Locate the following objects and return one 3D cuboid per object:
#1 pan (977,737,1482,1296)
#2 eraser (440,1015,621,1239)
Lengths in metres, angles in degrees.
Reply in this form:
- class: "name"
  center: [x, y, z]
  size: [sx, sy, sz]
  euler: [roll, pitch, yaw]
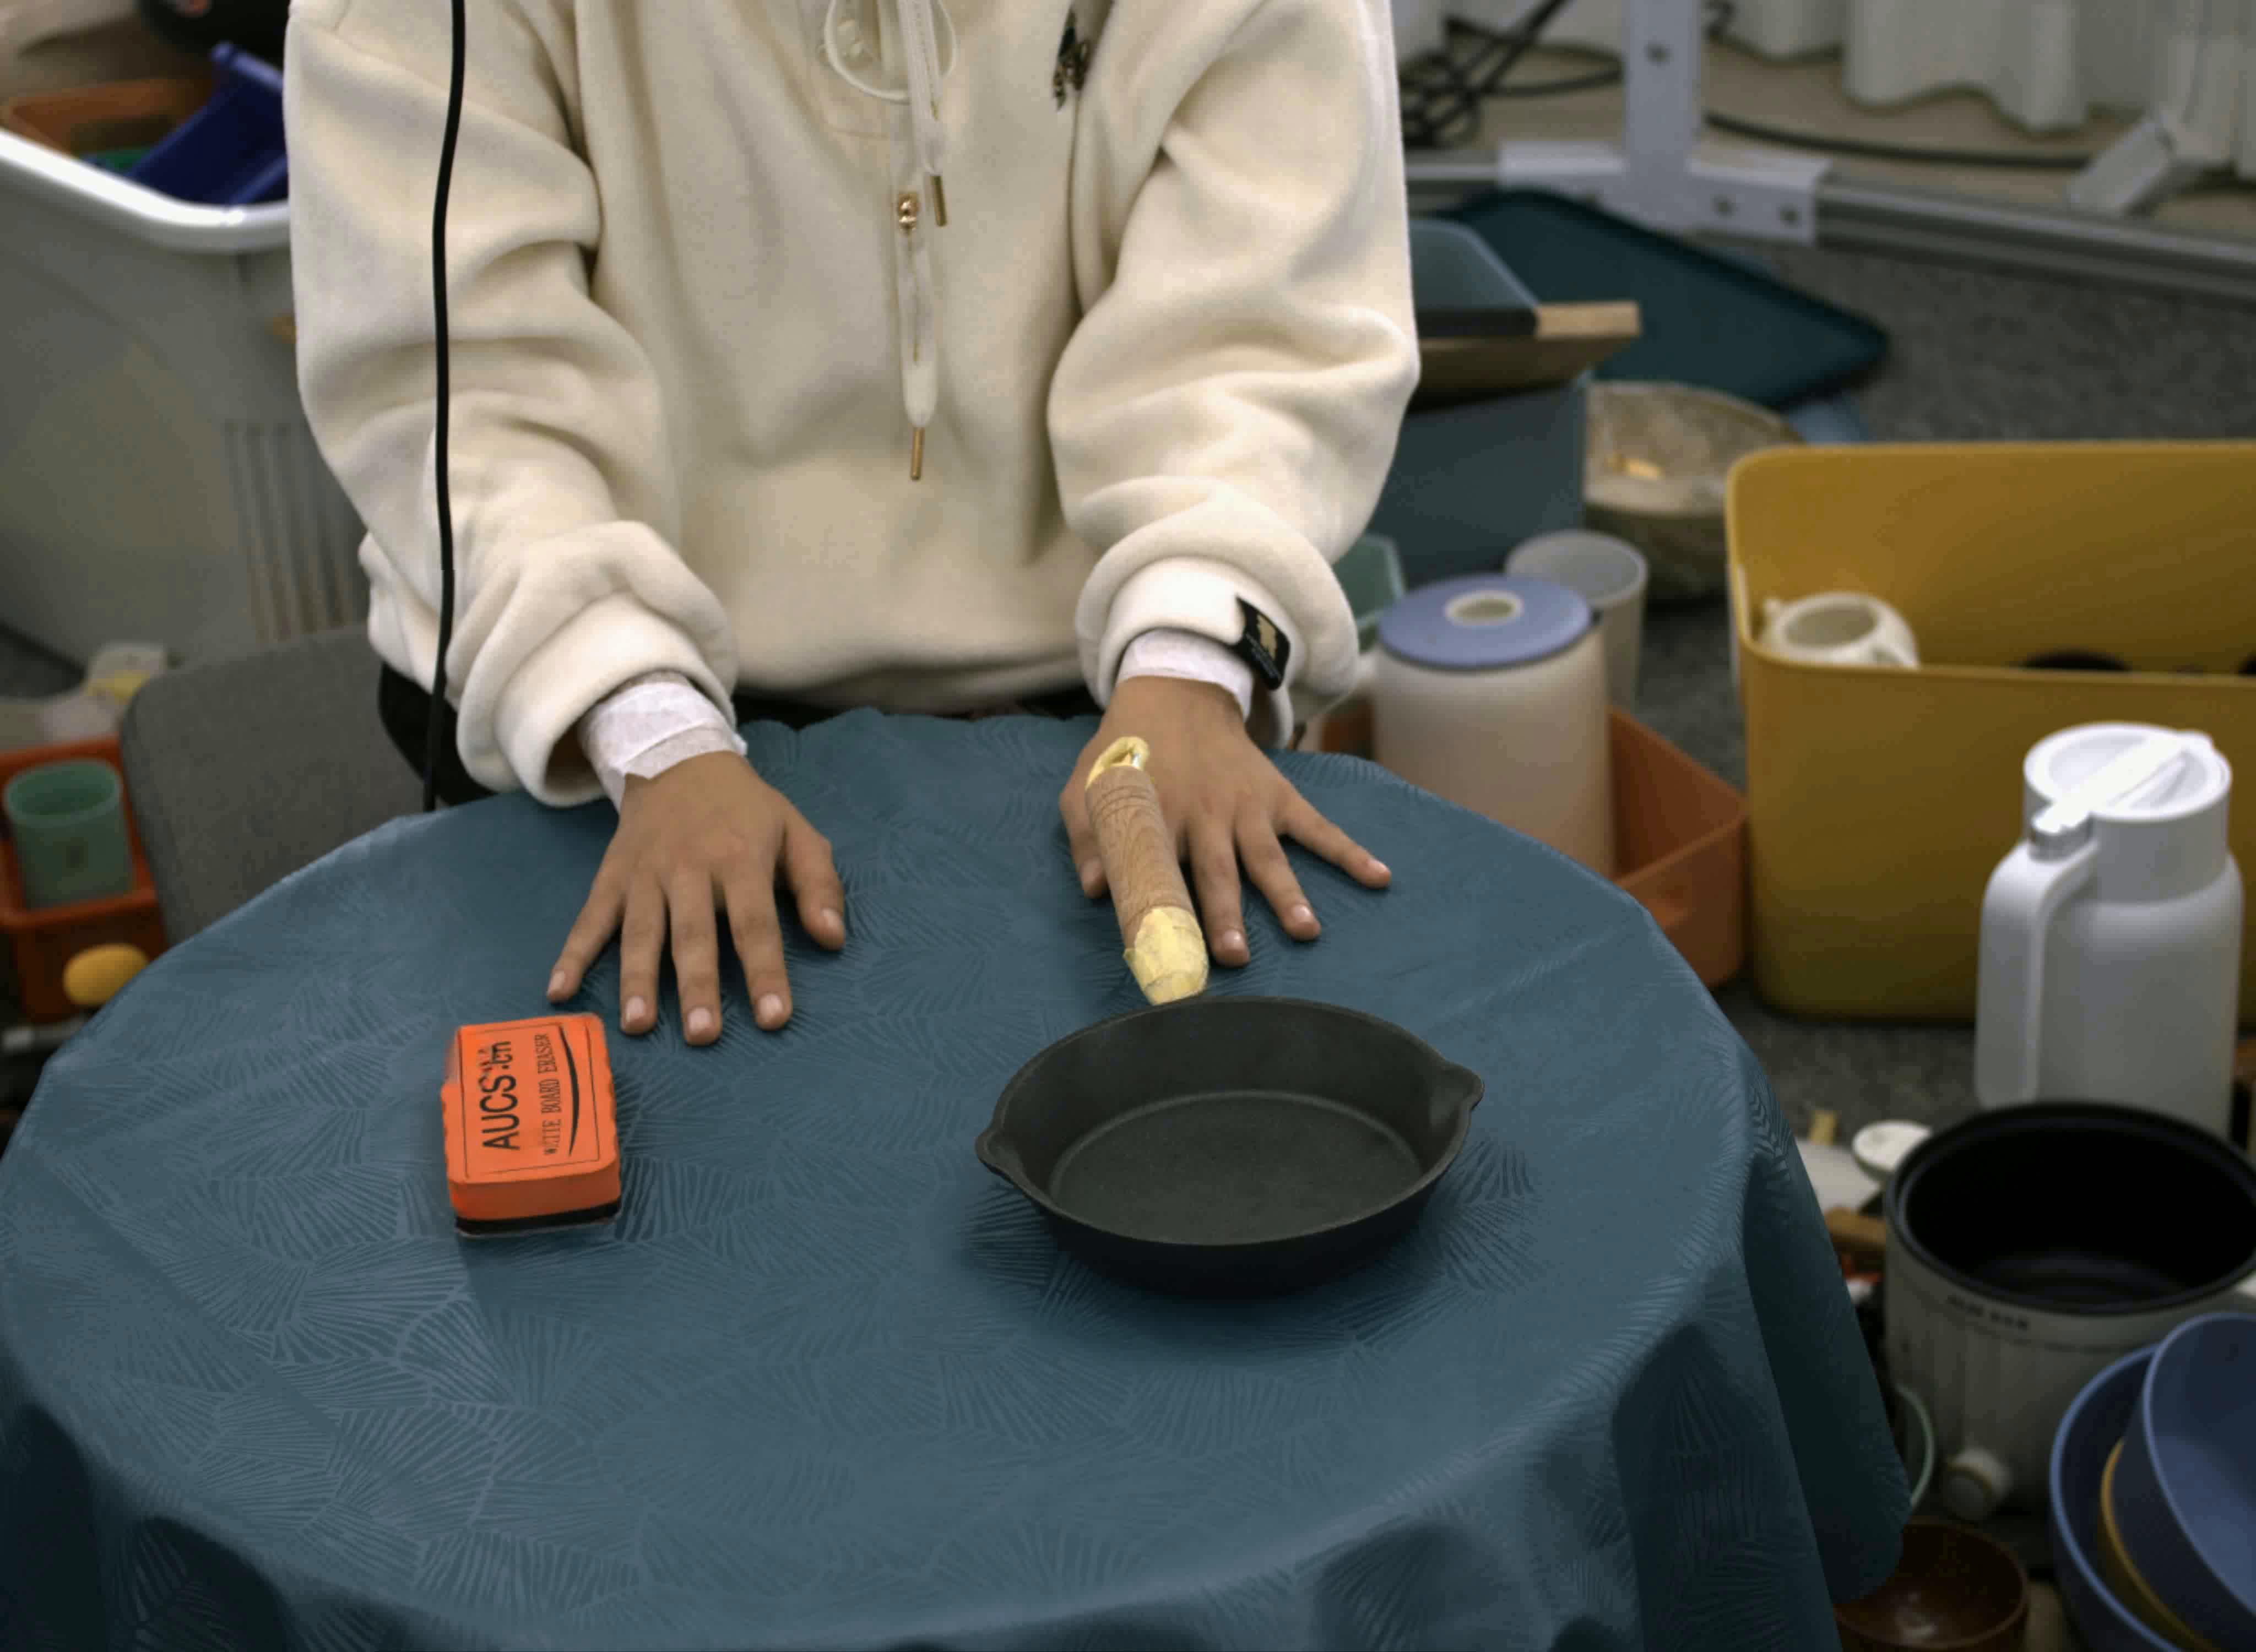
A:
- class: "pan"
  center: [0.021, 0.062, 1.919]
  size: [0.168, 0.049, 0.328]
  euler: [-7, 29, -6]
- class: "eraser"
  center: [-0.202, 0.101, 1.895]
  size: [0.059, 0.022, 0.109]
  euler: [-5, 28, -5]
